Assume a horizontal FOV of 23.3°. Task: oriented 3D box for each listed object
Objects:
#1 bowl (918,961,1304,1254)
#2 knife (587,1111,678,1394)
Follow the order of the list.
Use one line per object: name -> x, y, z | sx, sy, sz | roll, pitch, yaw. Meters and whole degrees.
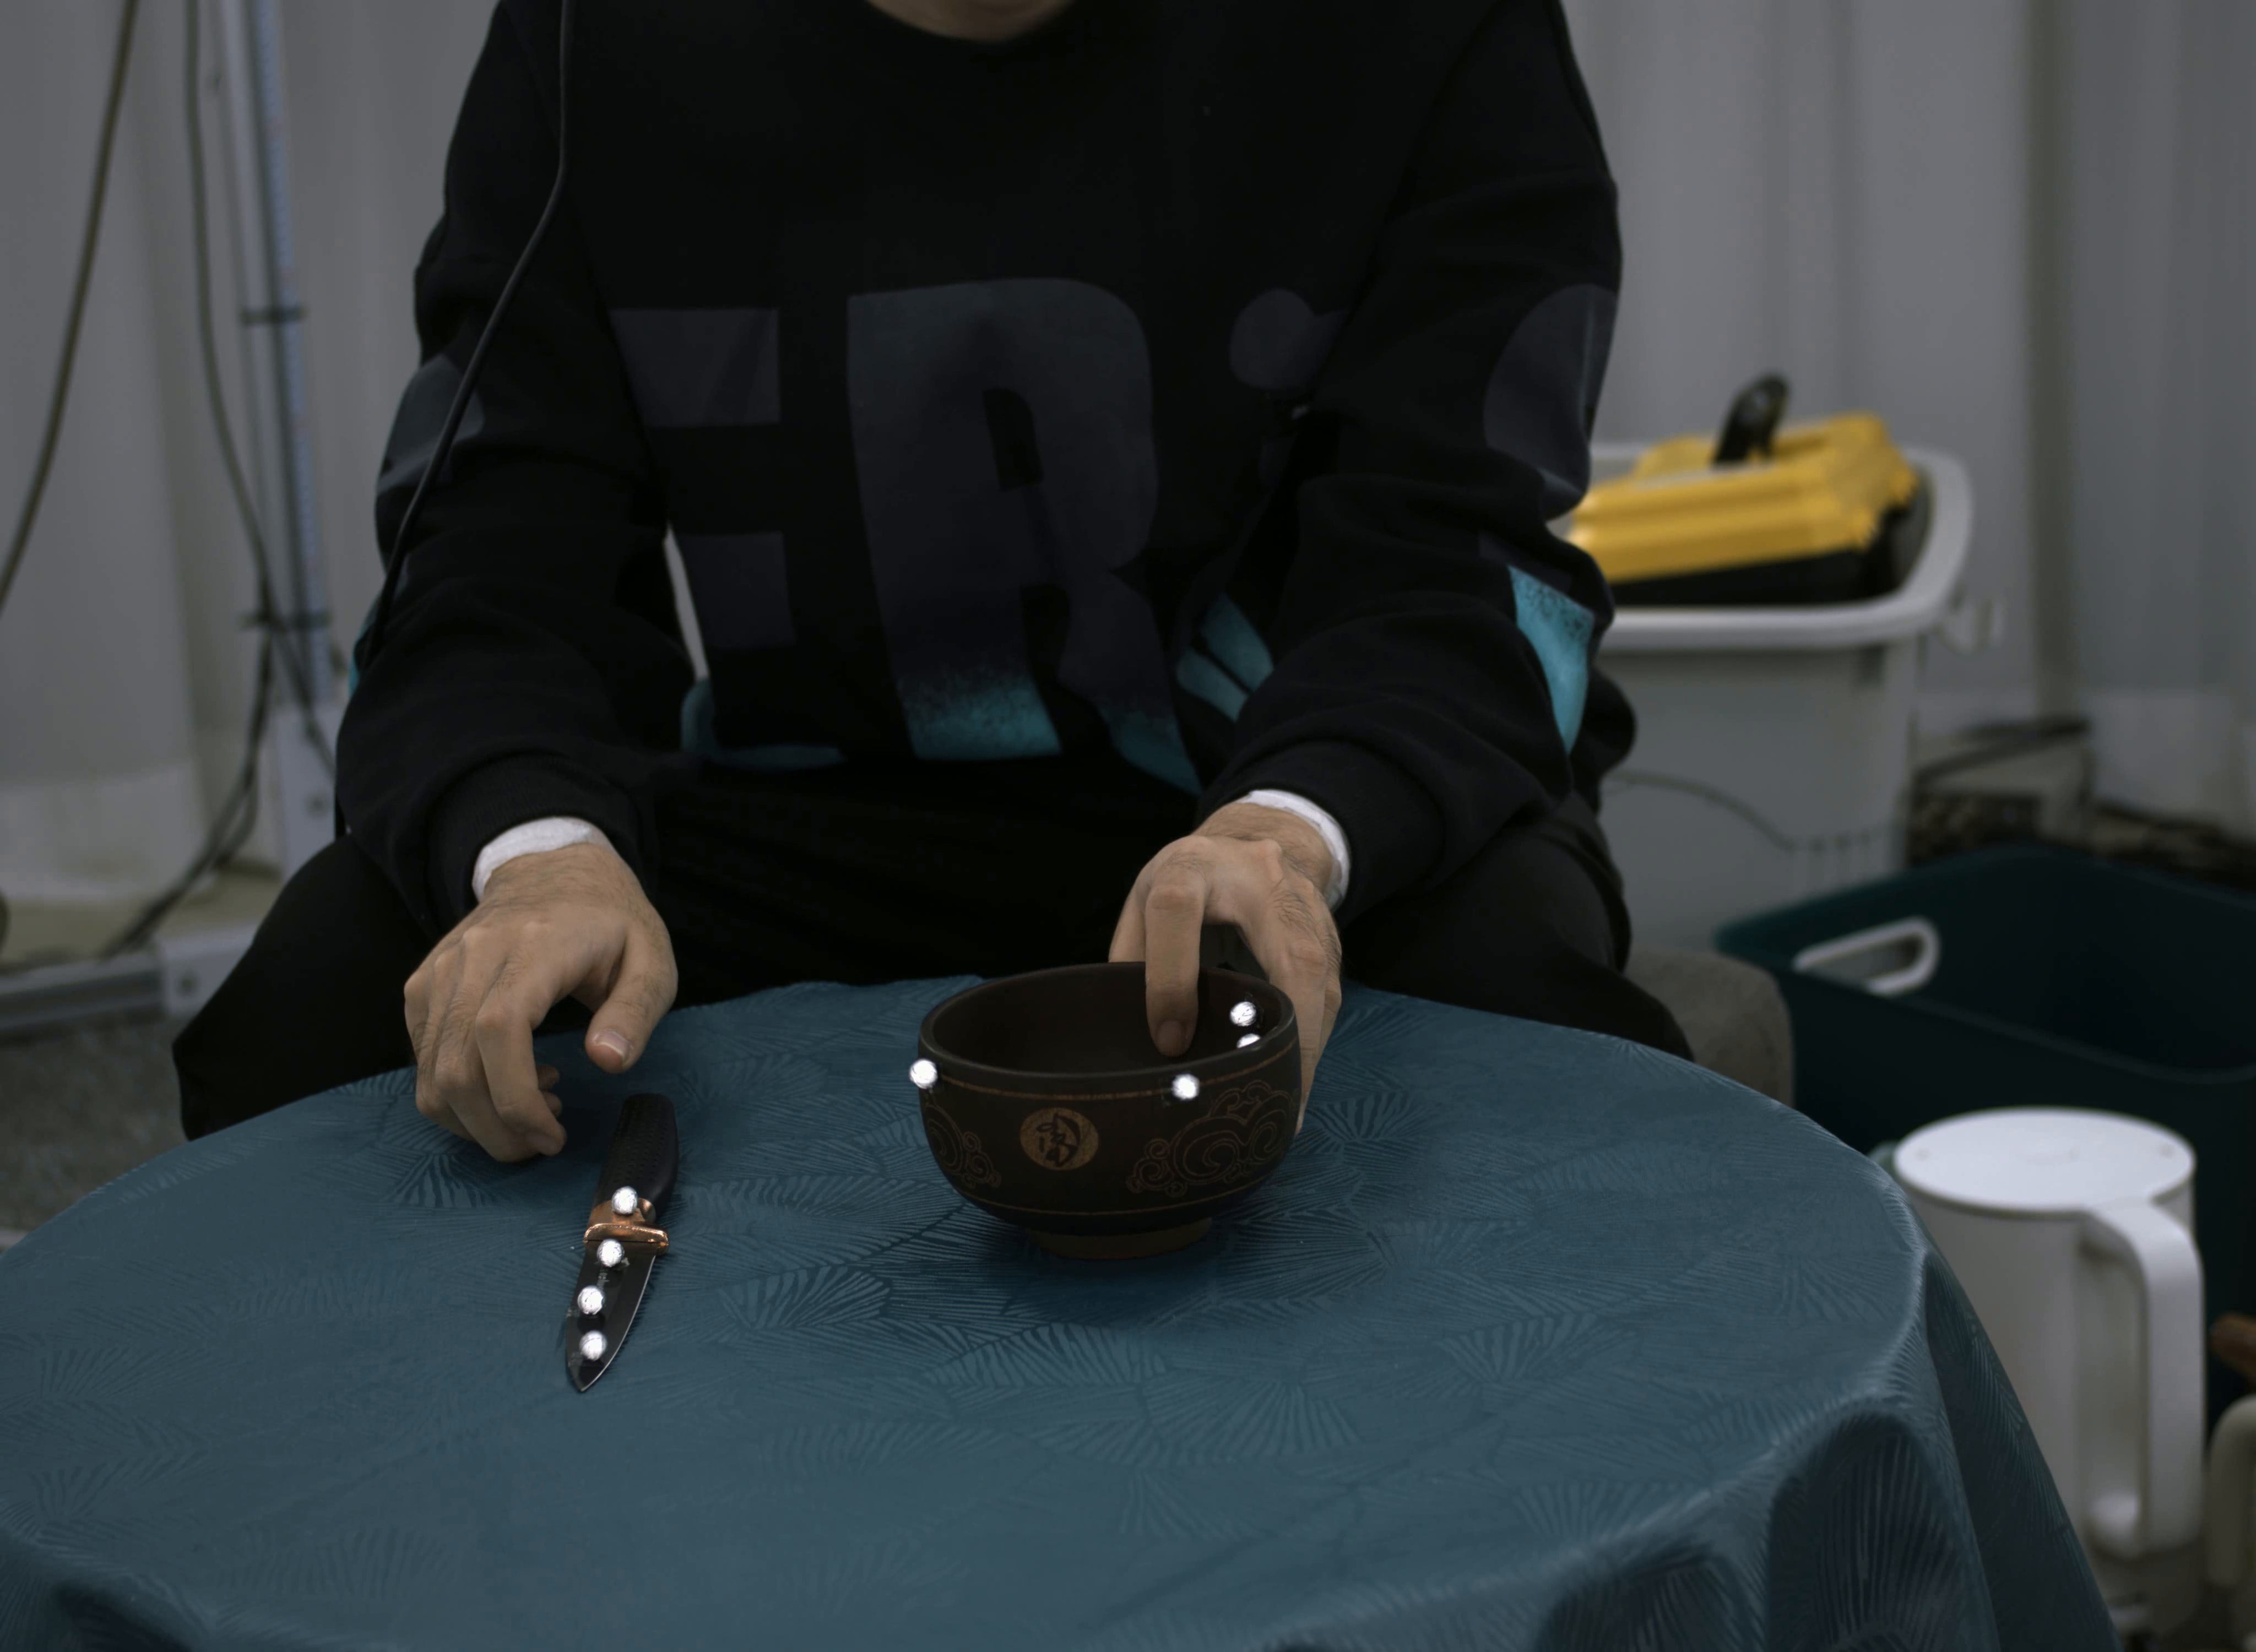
bowl -> -0.005, 0.089, 1.667 | 0.117, 0.069, 0.119 | -2, 13, 0
knife -> -0.152, 0.129, 1.671 | 0.026, 0.017, 0.227 | 4, 16, -3
